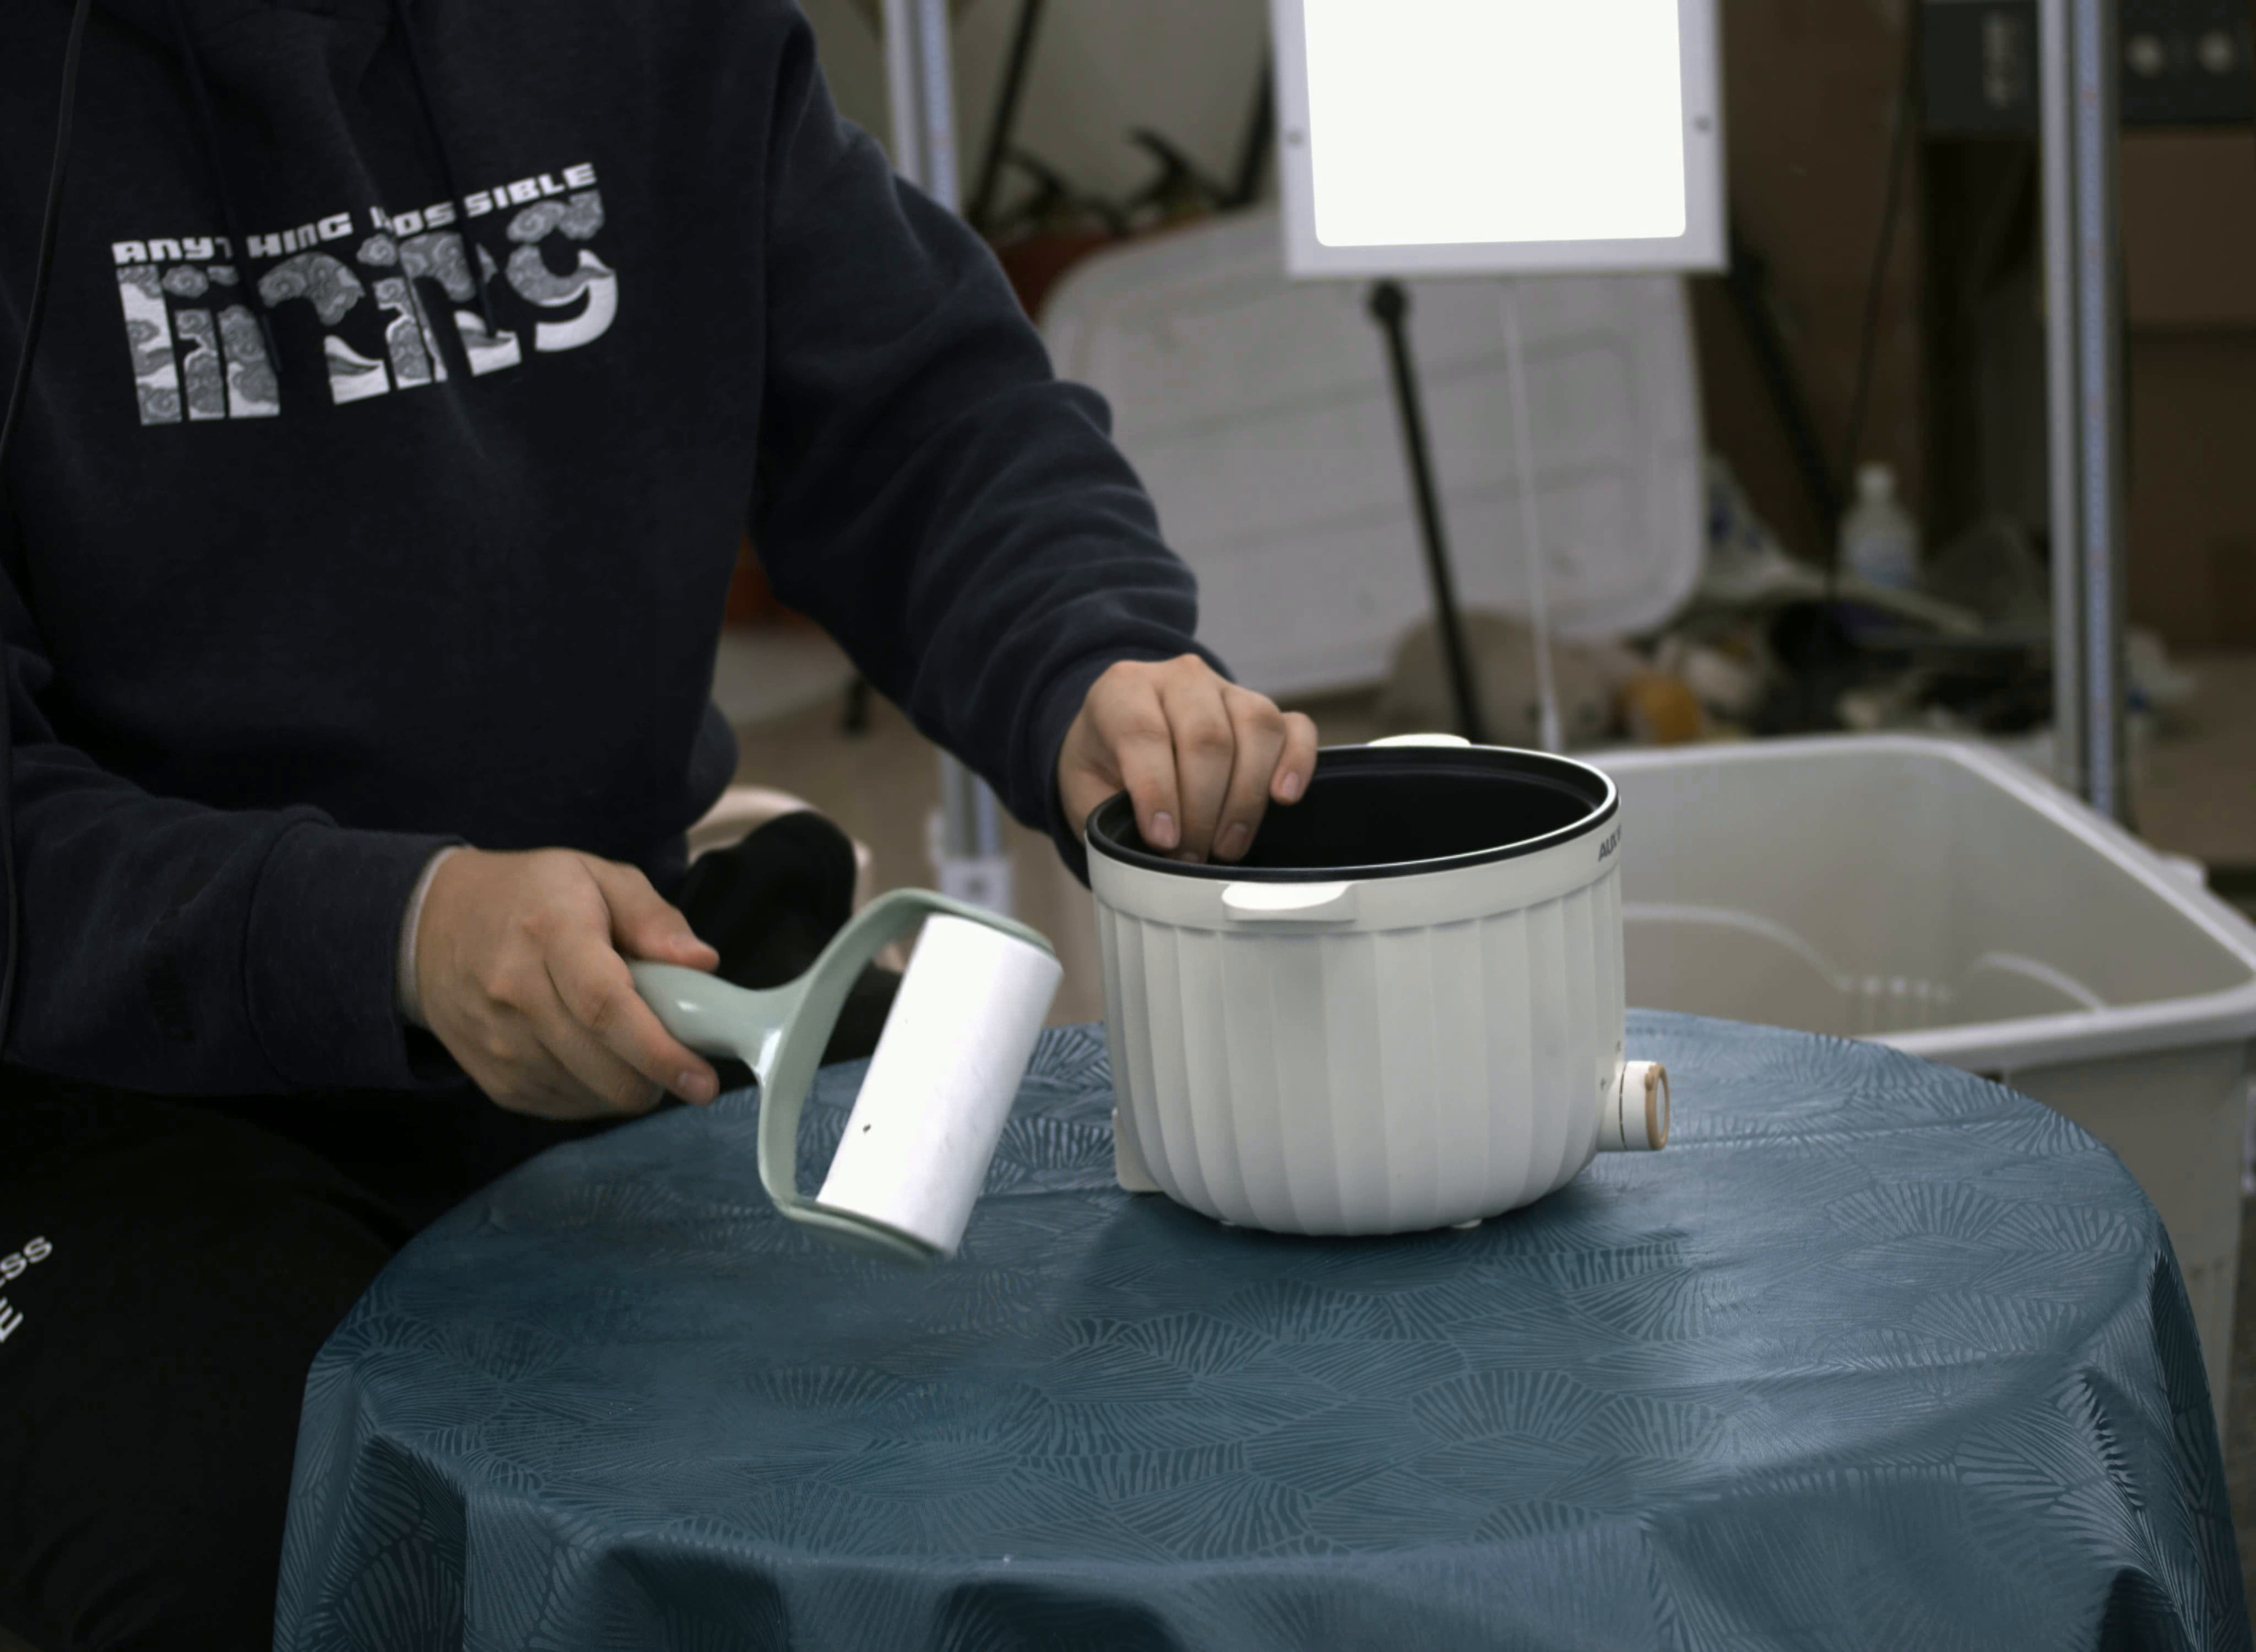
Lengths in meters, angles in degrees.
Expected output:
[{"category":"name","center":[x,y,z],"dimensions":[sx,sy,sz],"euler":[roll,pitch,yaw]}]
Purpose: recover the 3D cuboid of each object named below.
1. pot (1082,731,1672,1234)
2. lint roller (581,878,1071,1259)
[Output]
[{"category":"pot","center":[0.086,0.055,1.867],"dimensions":[0.193,0.143,0.237],"euler":[-4,15,17]},{"category":"lint roller","center":[-0.112,0.066,1.784],"dimensions":[0.201,0.116,0.047],"euler":[13,-14,40]}]
